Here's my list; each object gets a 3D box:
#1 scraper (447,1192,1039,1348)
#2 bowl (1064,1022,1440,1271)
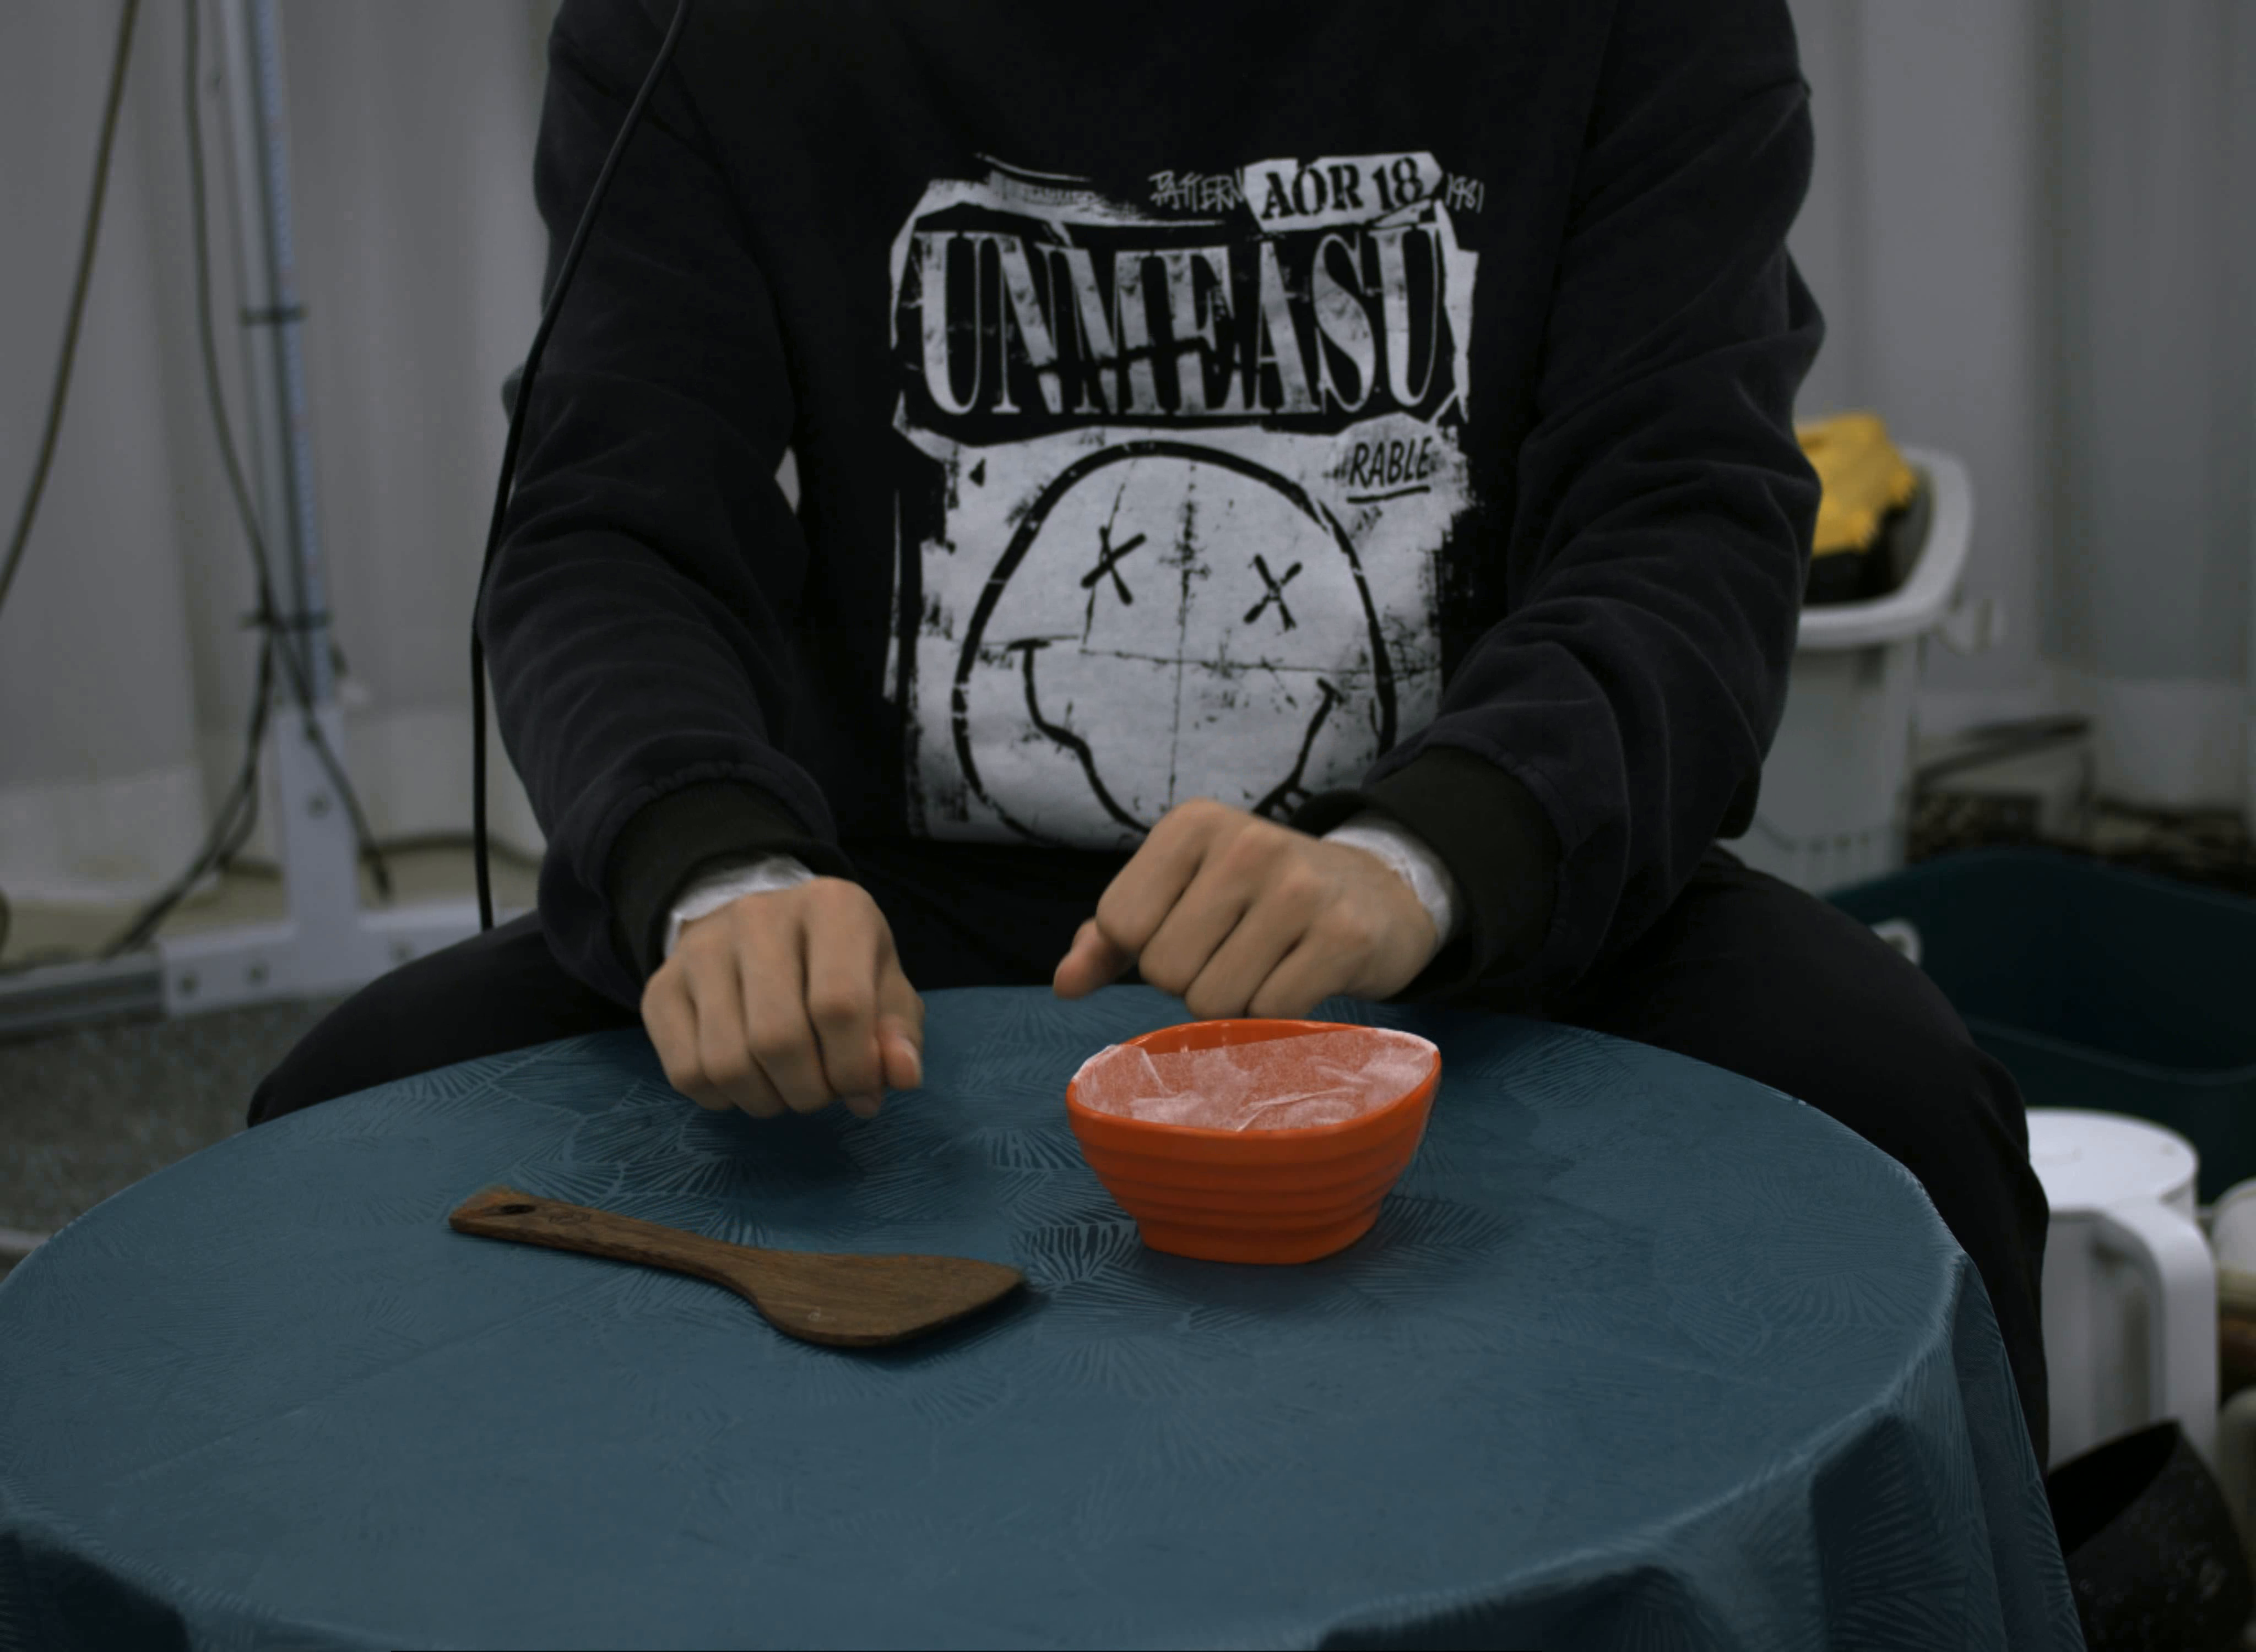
[{"bbox_3d":[-0.125,0.132,1.659,0.212,0.011,0.076,8,18,37],"label":"scraper"},{"bbox_3d":[0.039,0.100,1.669,0.118,0.051,0.120,-3,15,1],"label":"bowl"}]
